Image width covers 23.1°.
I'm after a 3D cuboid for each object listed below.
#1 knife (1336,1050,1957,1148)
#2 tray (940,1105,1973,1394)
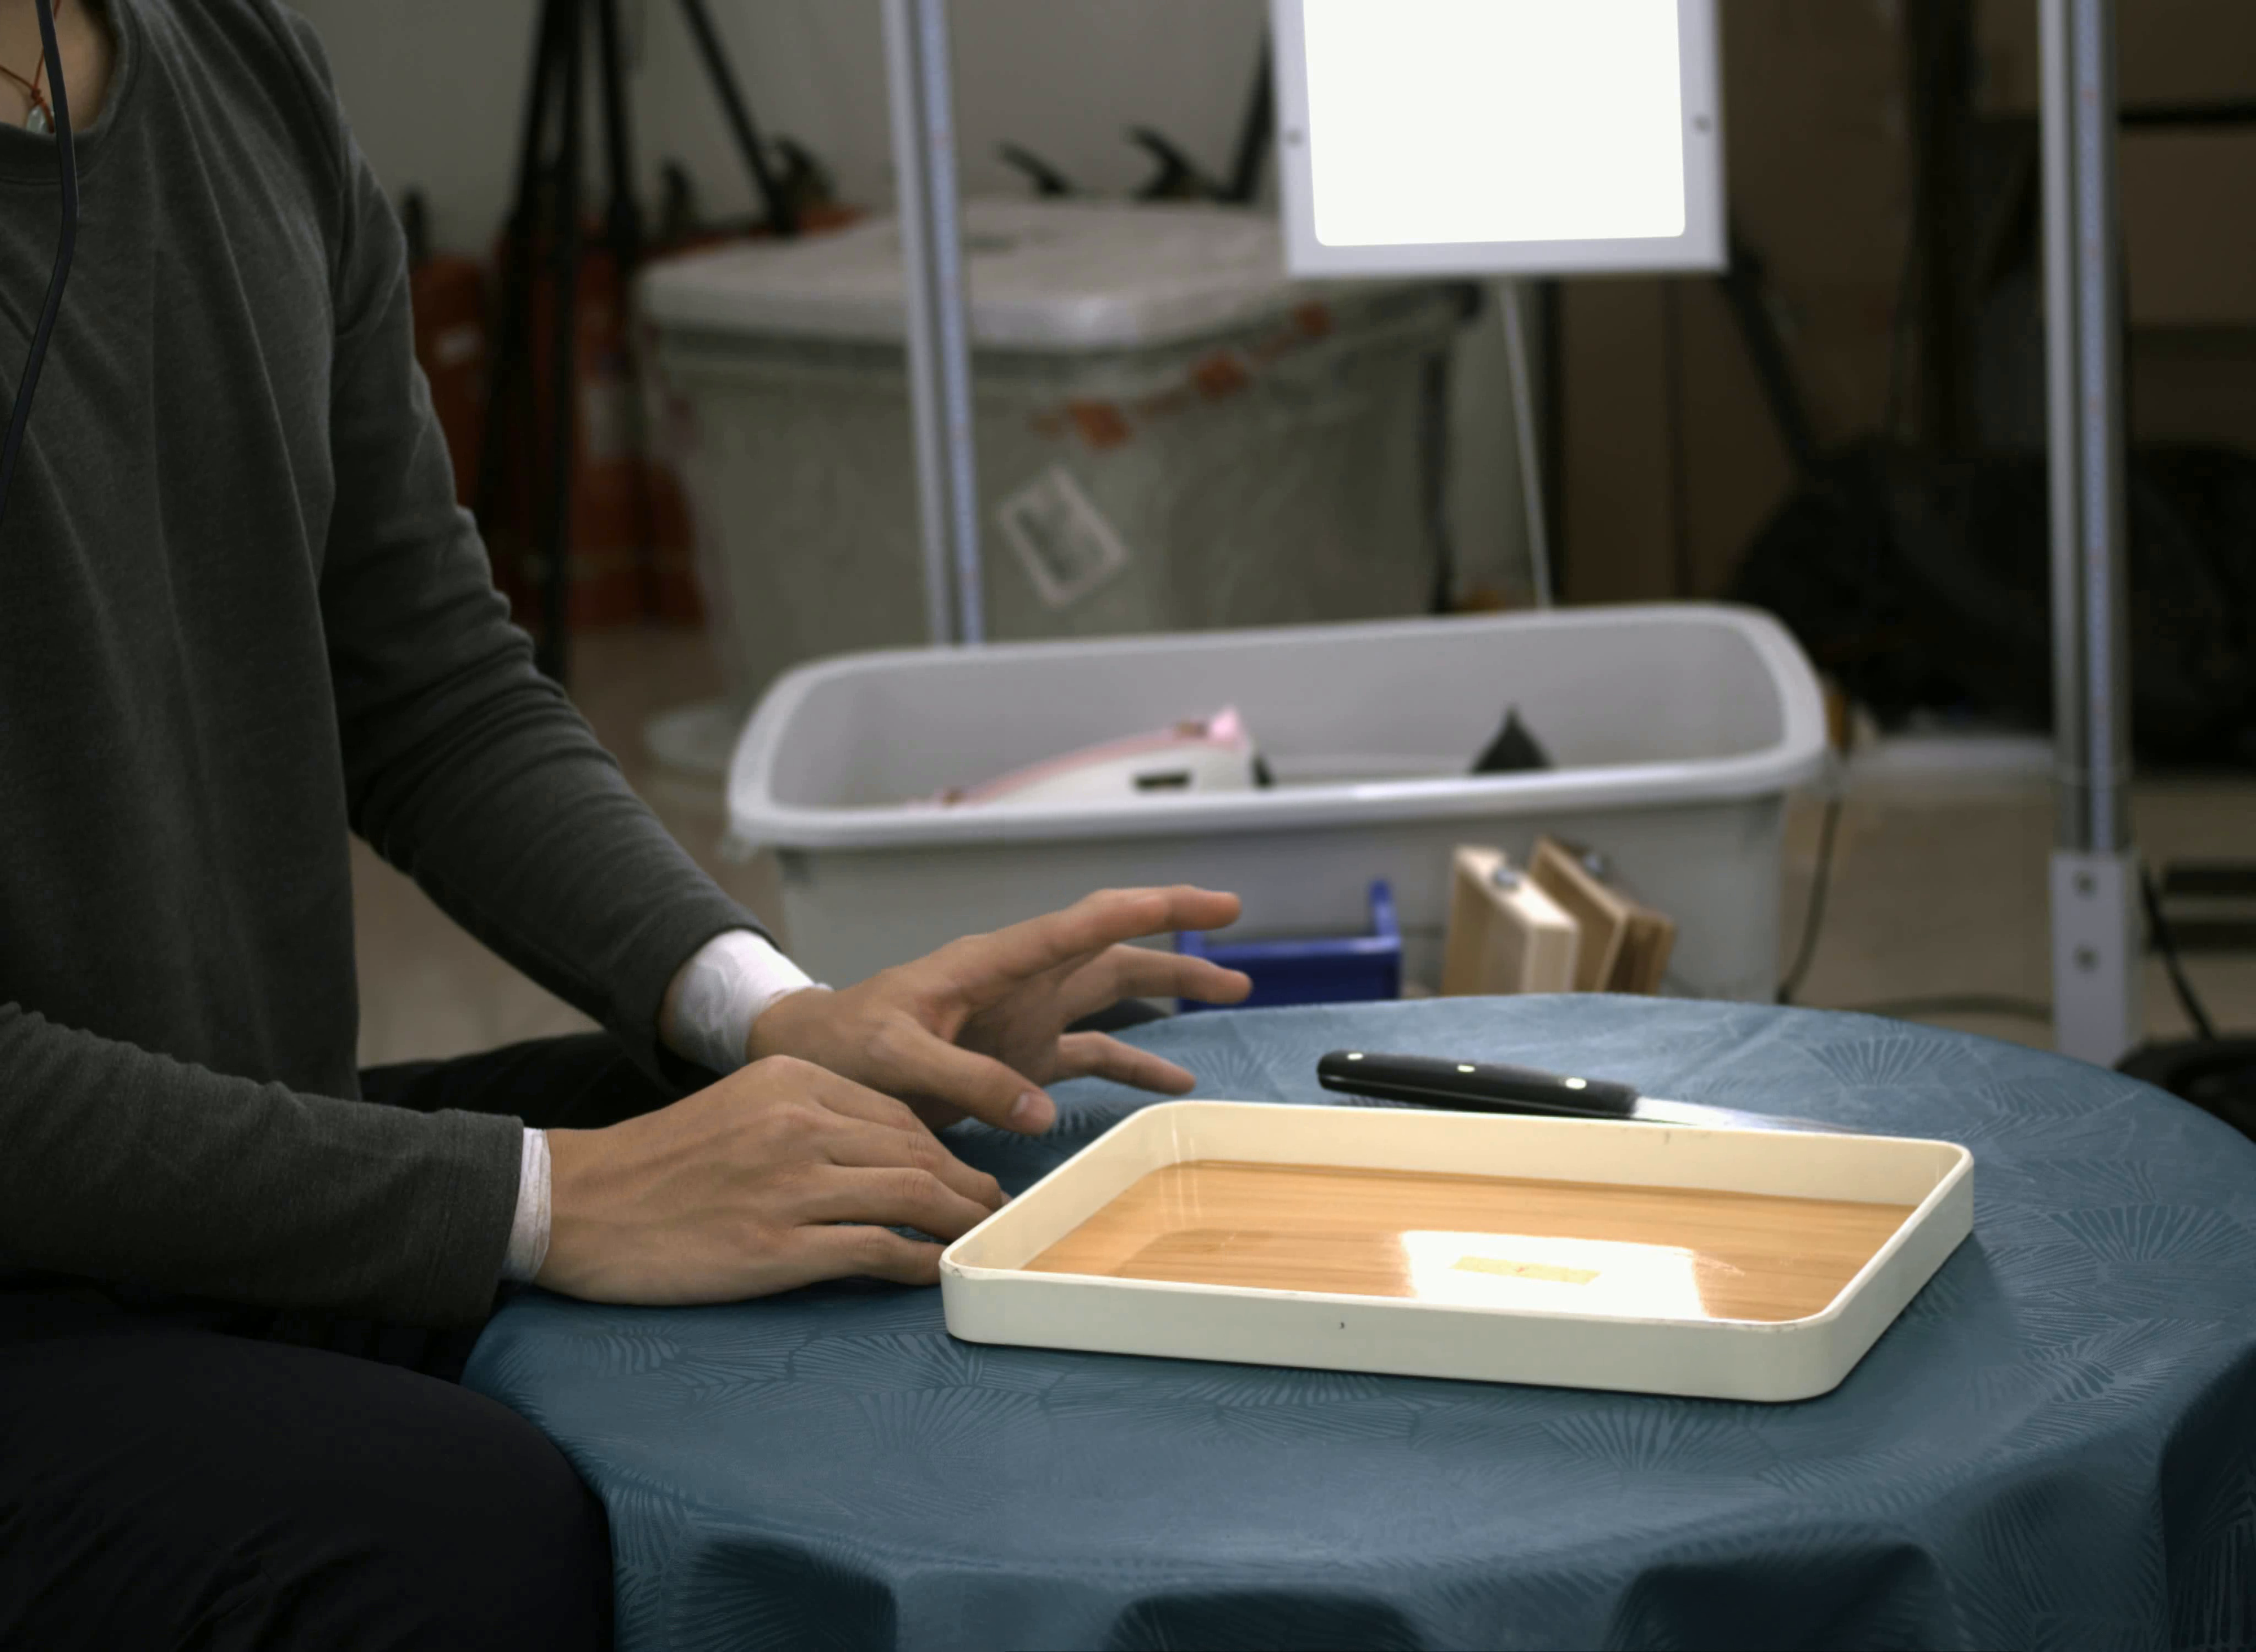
[{"bbox_3d":[0.179,0.099,1.926,0.242,0.016,0.024,6,21,29],"label":"knife"},{"bbox_3d":[0.109,0.134,1.776,0.305,0.027,0.187,2,14,26],"label":"tray"}]
